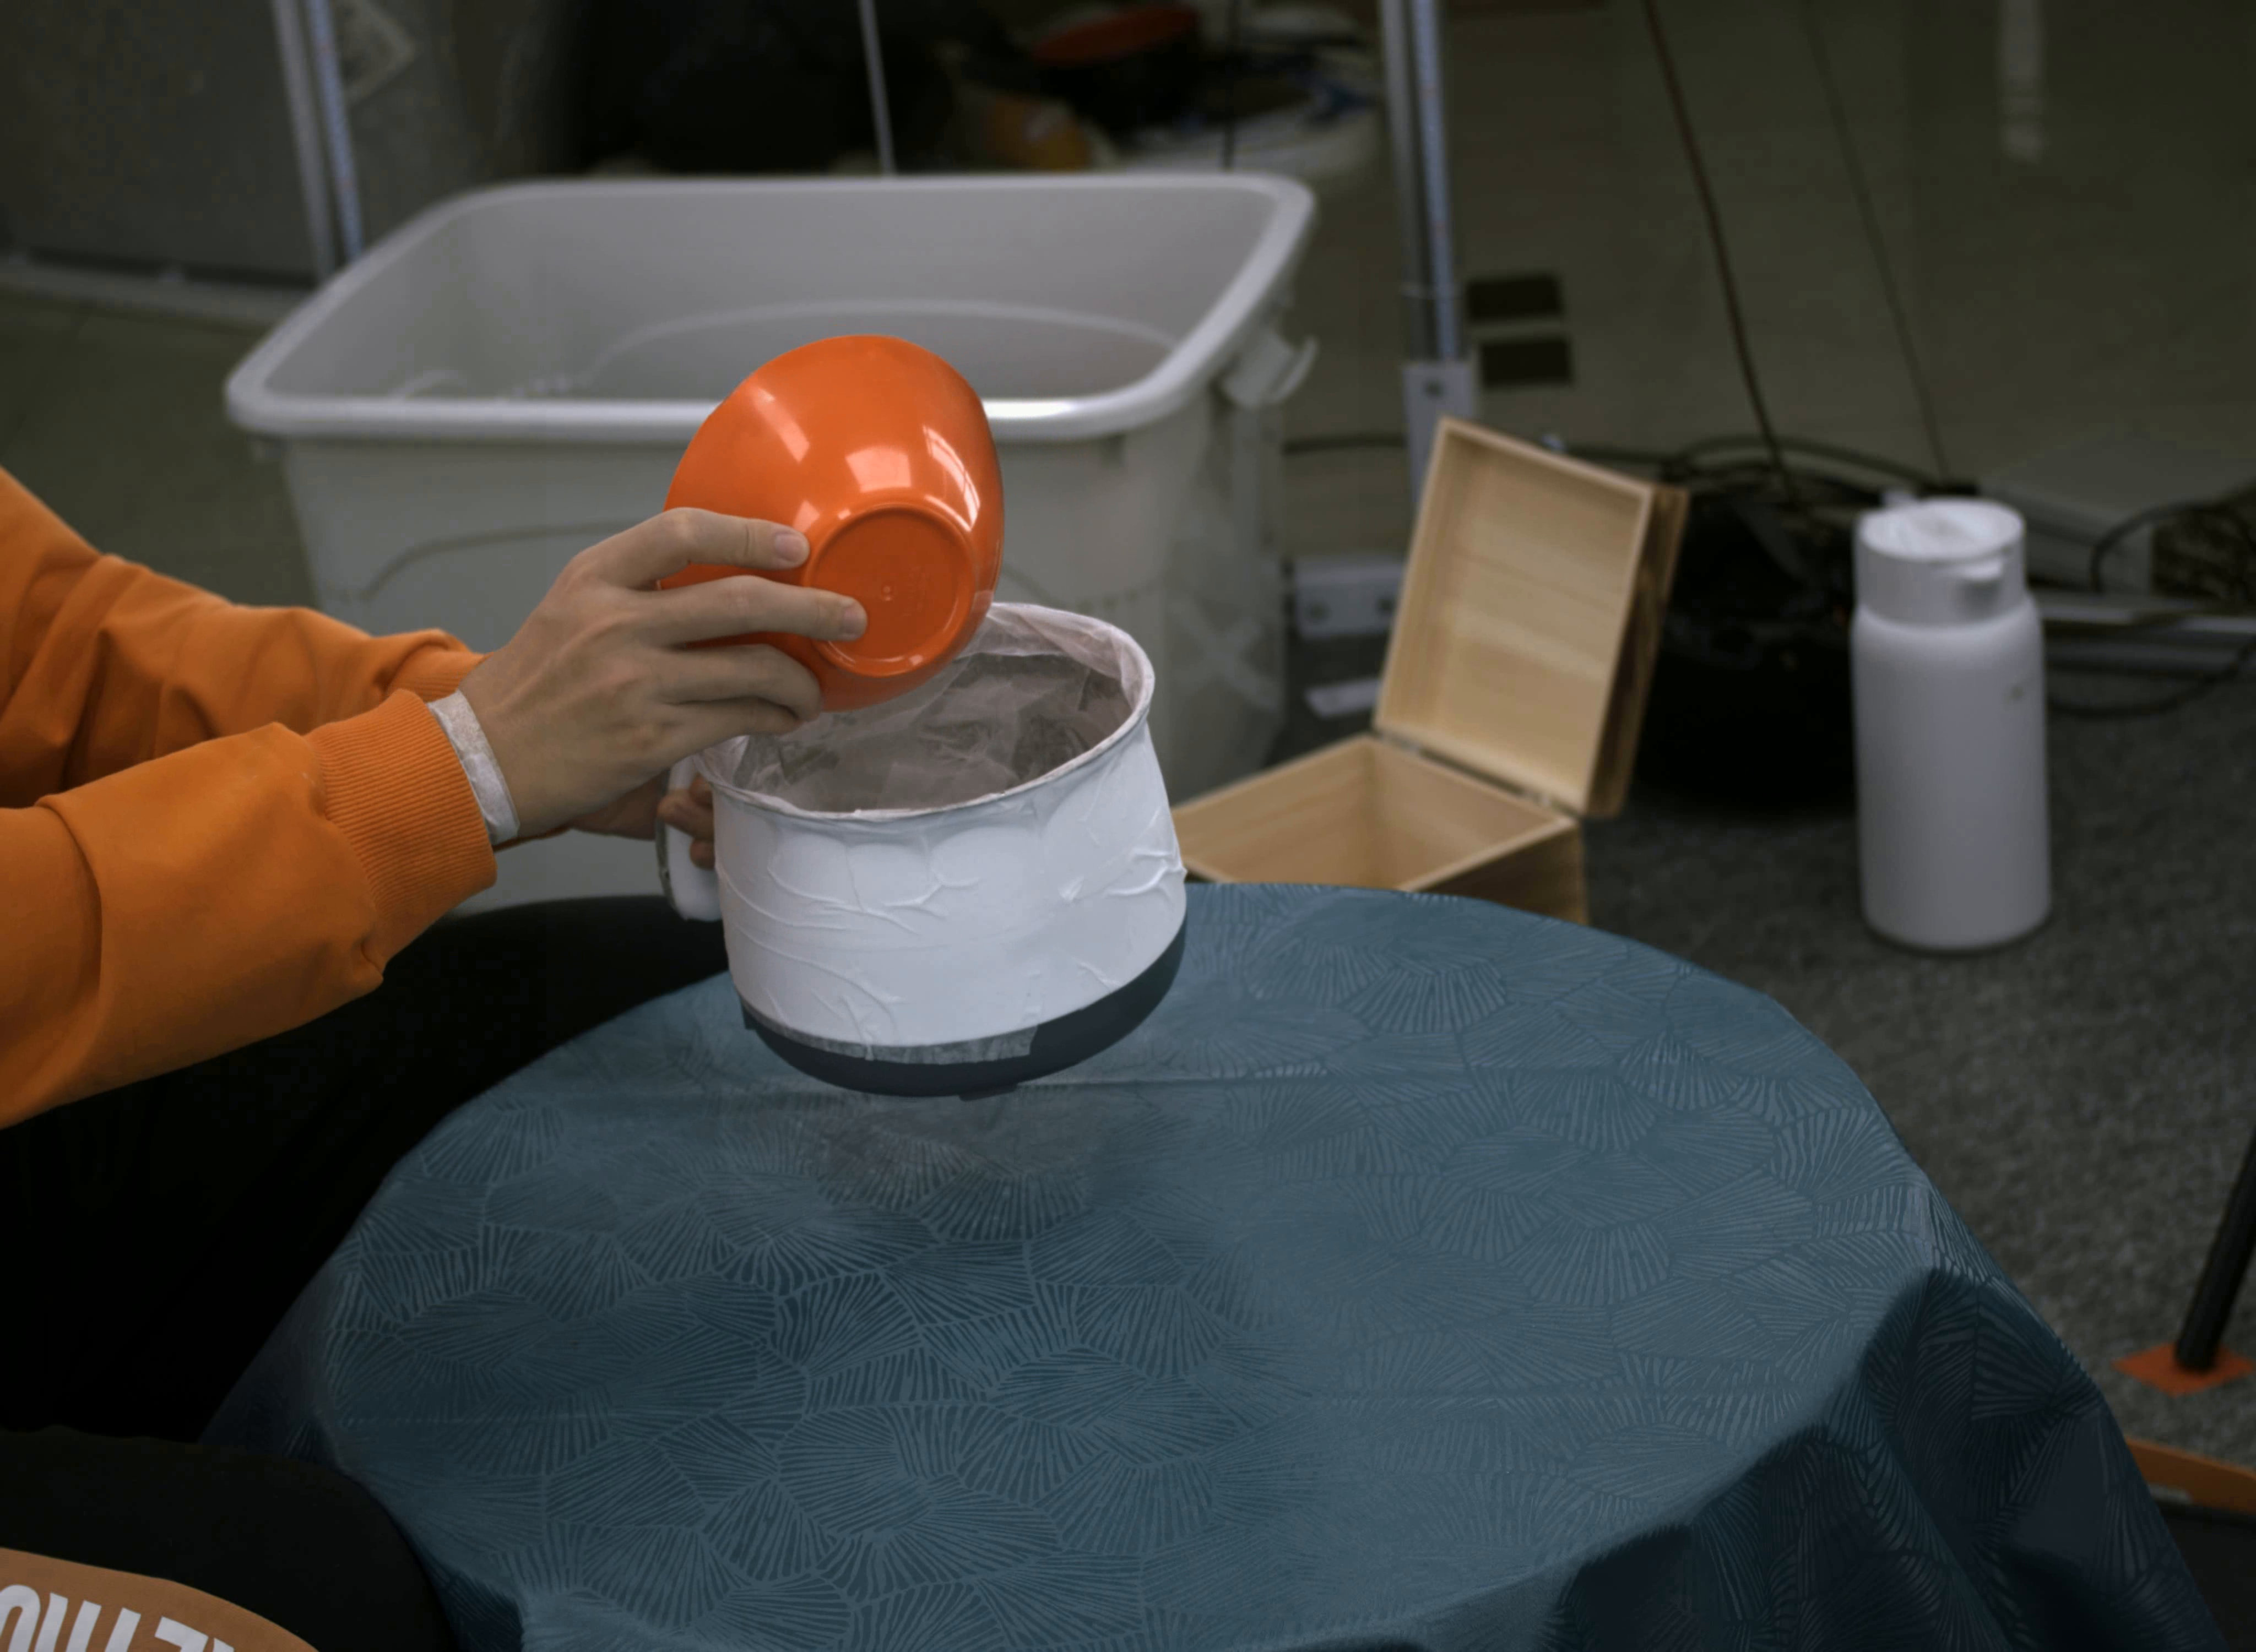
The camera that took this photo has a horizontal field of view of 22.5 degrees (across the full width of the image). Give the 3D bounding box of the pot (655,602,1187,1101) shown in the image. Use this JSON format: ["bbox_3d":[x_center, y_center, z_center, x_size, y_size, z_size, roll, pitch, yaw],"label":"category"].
[{"bbox_3d":[-0.091,0.006,2.162,0.232,0.139,0.176,13,34,34],"label":"pot"}]

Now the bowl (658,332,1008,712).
[{"bbox_3d":[-0.094,-0.101,2.089,0.147,0.150,0.103,-15,26,-18],"label":"bowl"}]
